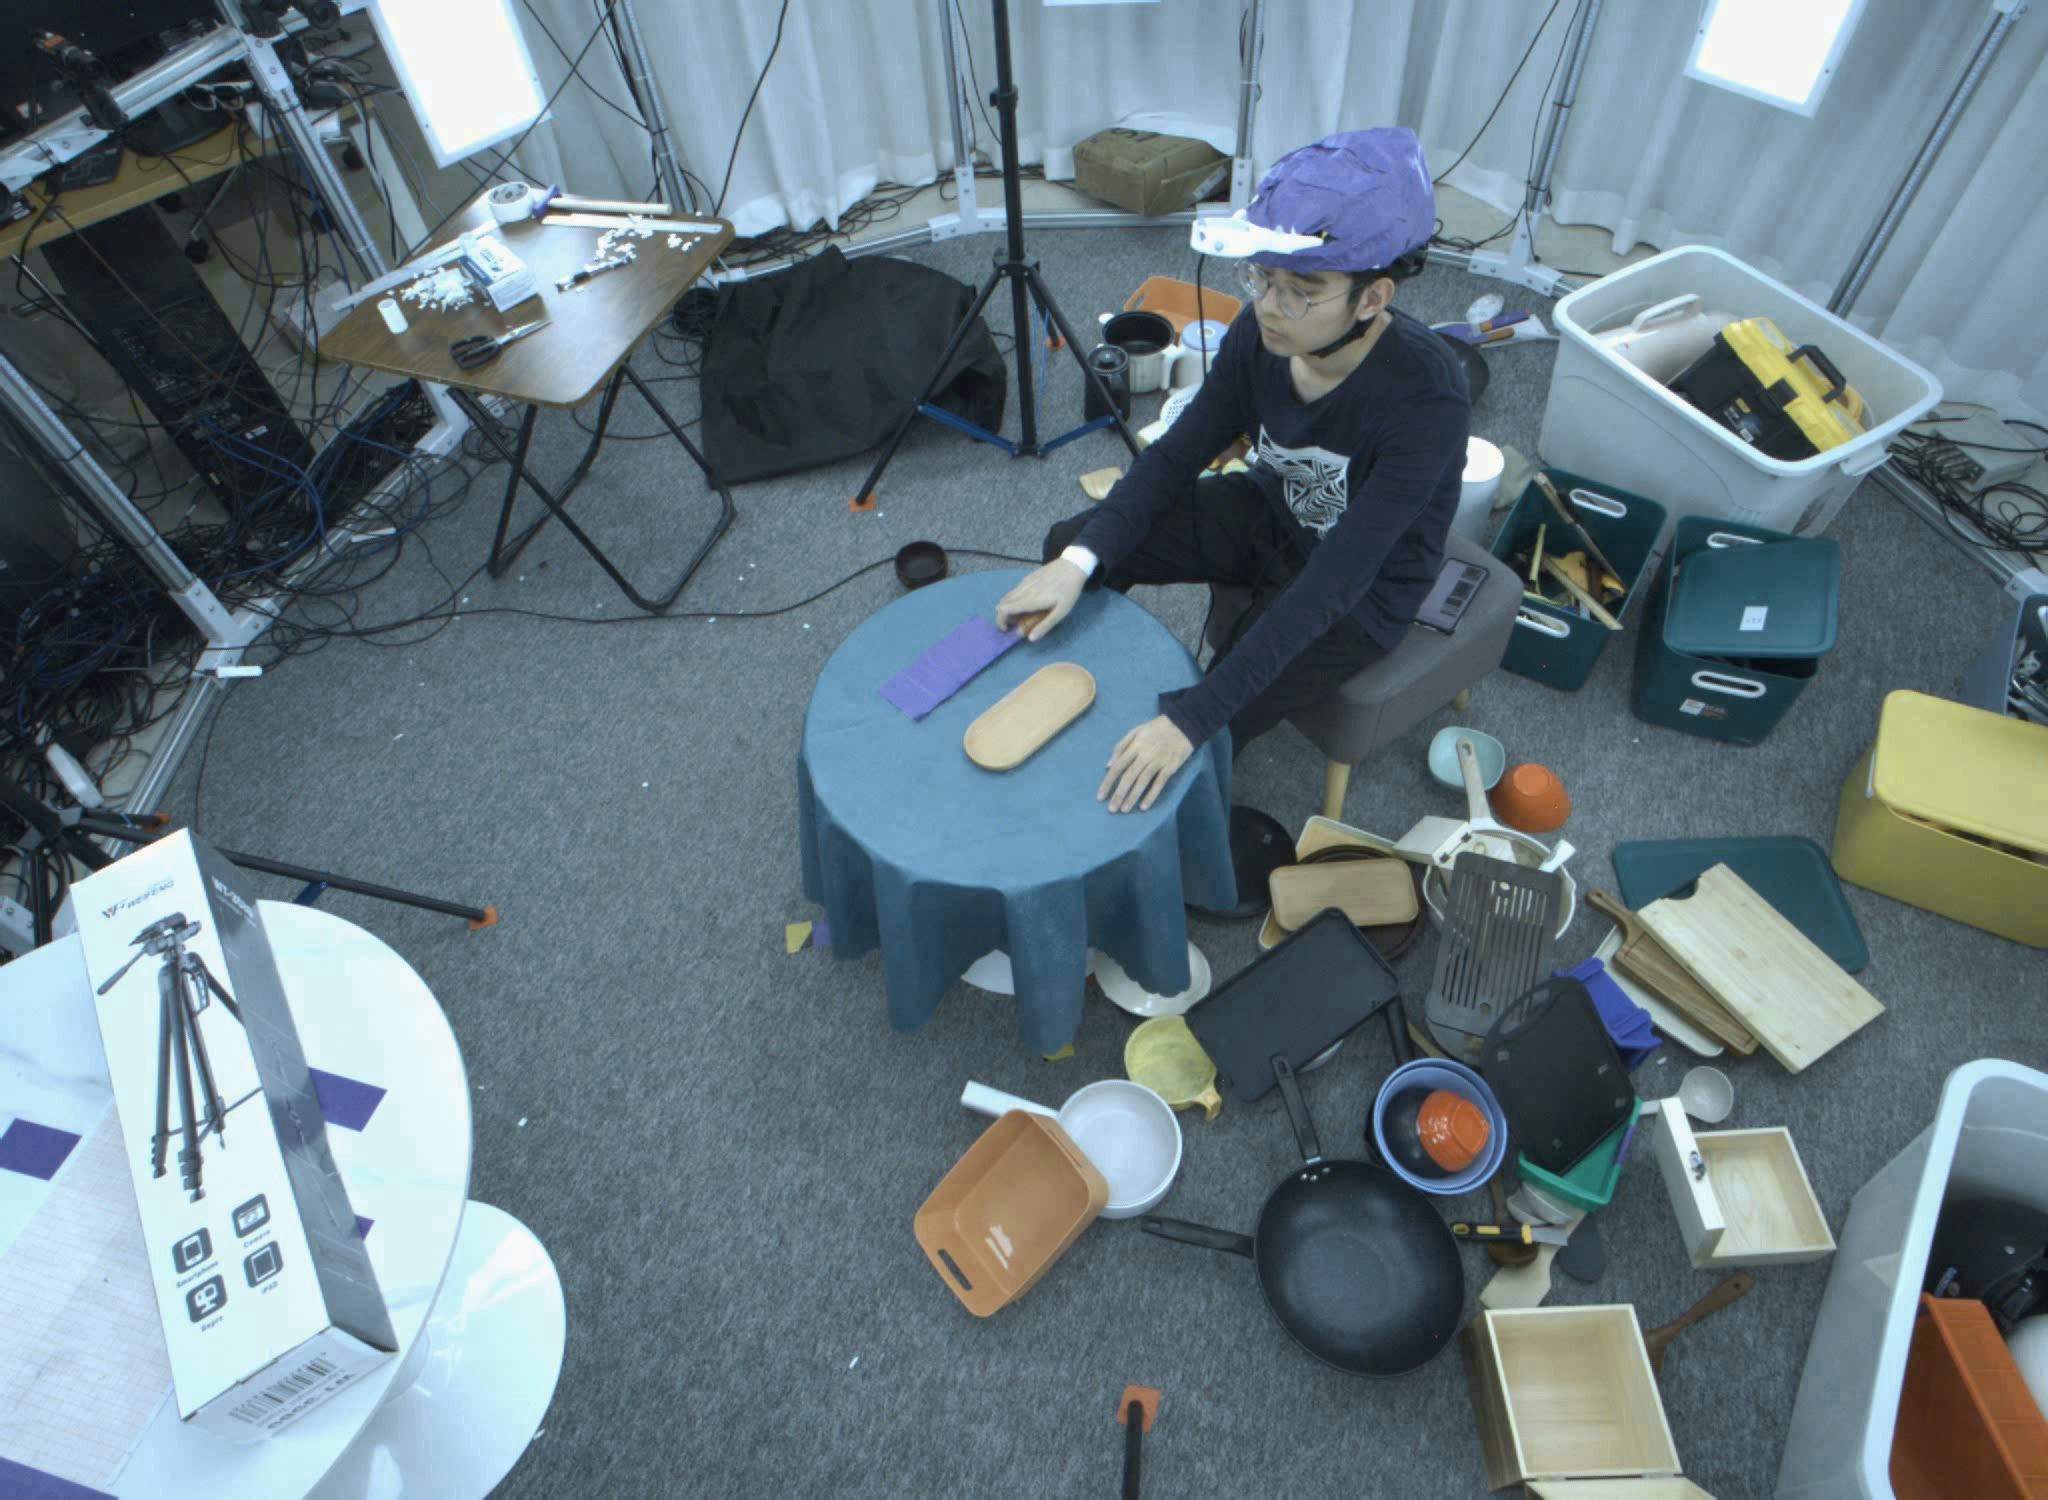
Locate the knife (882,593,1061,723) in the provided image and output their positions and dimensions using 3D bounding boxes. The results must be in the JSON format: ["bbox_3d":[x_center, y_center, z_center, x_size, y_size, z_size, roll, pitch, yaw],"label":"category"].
[{"bbox_3d":[-0.082,-0.161,1.896,0.102,0.032,0.317,39,64,25],"label":"knife"}]

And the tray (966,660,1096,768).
[{"bbox_3d":[0.012,-0.054,1.824,0.100,0.020,0.233,38,62,24],"label":"tray"}]
